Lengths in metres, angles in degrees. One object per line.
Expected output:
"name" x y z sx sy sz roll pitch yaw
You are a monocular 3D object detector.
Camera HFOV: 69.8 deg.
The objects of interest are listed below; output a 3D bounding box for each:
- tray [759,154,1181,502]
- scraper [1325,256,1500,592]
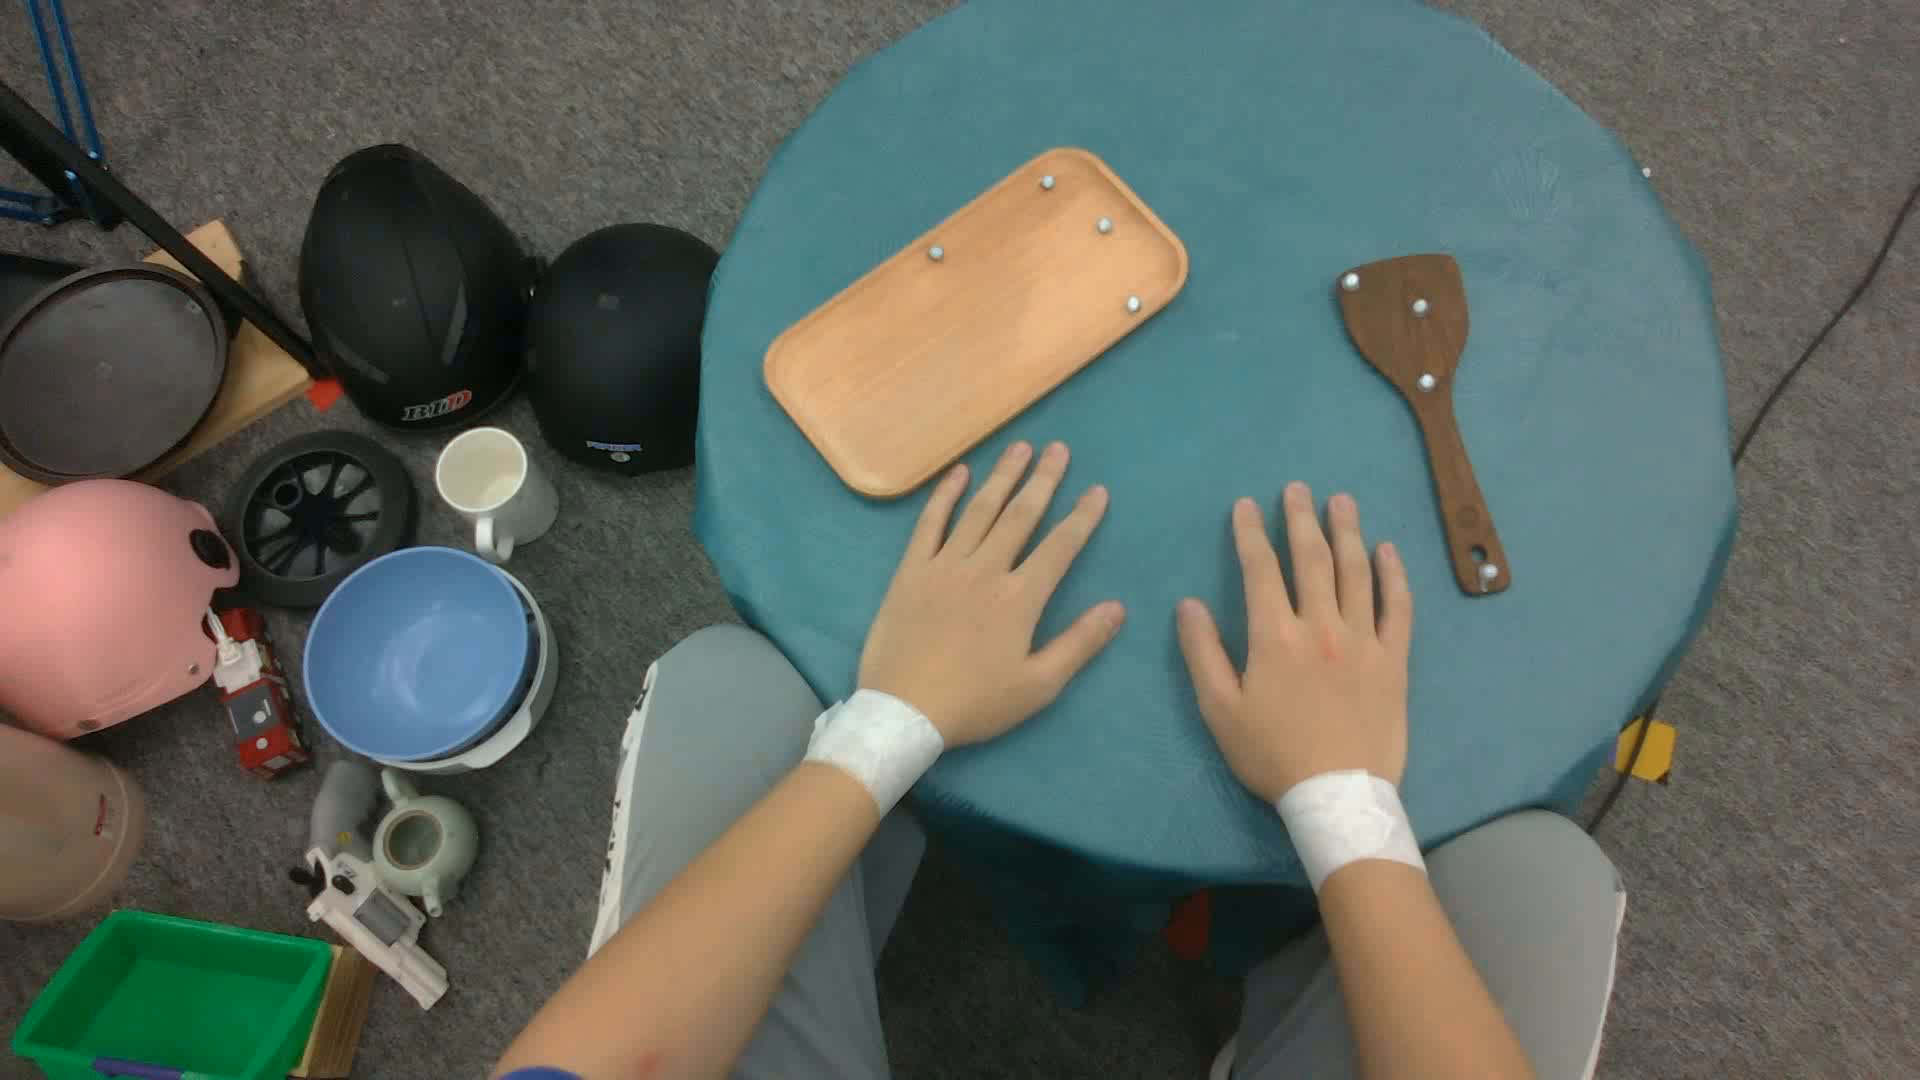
"tray" 0.007 -0.130 0.827 0.251 0.023 0.130 -36 70 -11
"scraper" 0.271 -0.070 0.799 0.076 0.011 0.212 -9 70 -1
